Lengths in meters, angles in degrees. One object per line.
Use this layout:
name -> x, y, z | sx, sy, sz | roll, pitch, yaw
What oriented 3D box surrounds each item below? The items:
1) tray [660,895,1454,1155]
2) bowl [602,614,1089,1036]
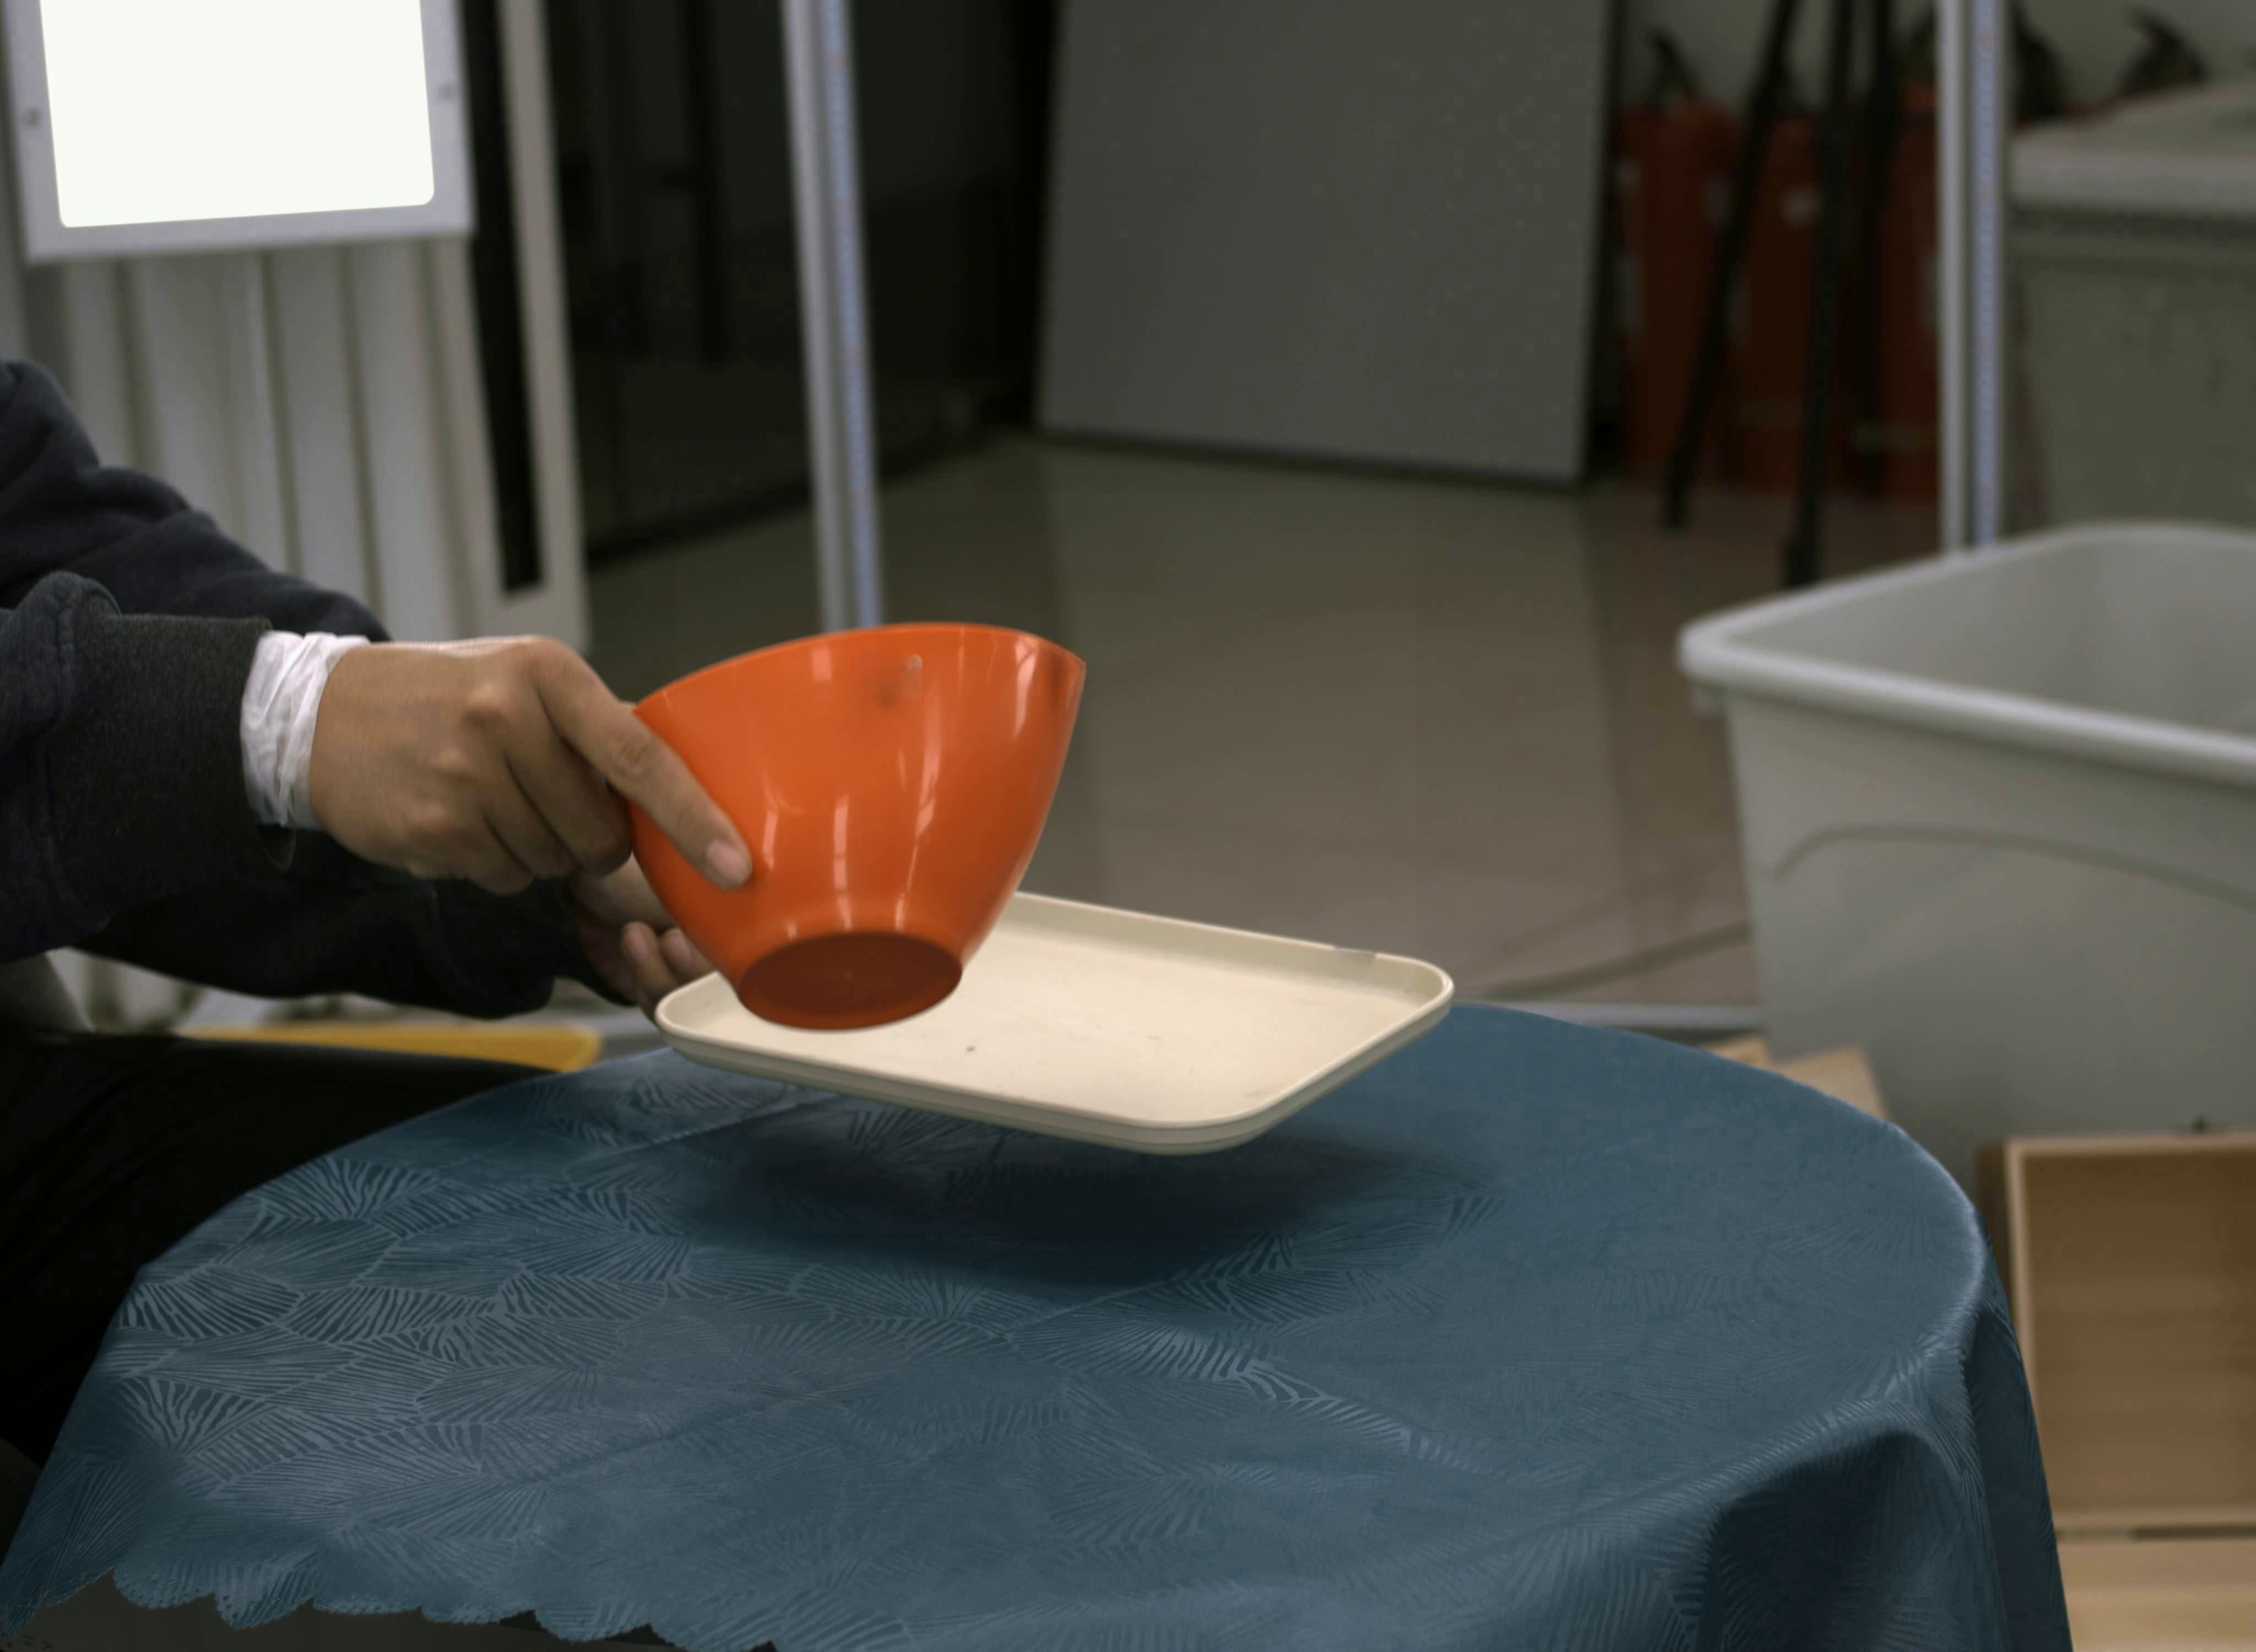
tray -> -0.023, 0.064, 1.789 | 0.241, 0.017, 0.168 | 8, 21, 34
bowl -> -0.080, 0.004, 1.589 | 0.146, 0.106, 0.148 | -4, -28, -3
